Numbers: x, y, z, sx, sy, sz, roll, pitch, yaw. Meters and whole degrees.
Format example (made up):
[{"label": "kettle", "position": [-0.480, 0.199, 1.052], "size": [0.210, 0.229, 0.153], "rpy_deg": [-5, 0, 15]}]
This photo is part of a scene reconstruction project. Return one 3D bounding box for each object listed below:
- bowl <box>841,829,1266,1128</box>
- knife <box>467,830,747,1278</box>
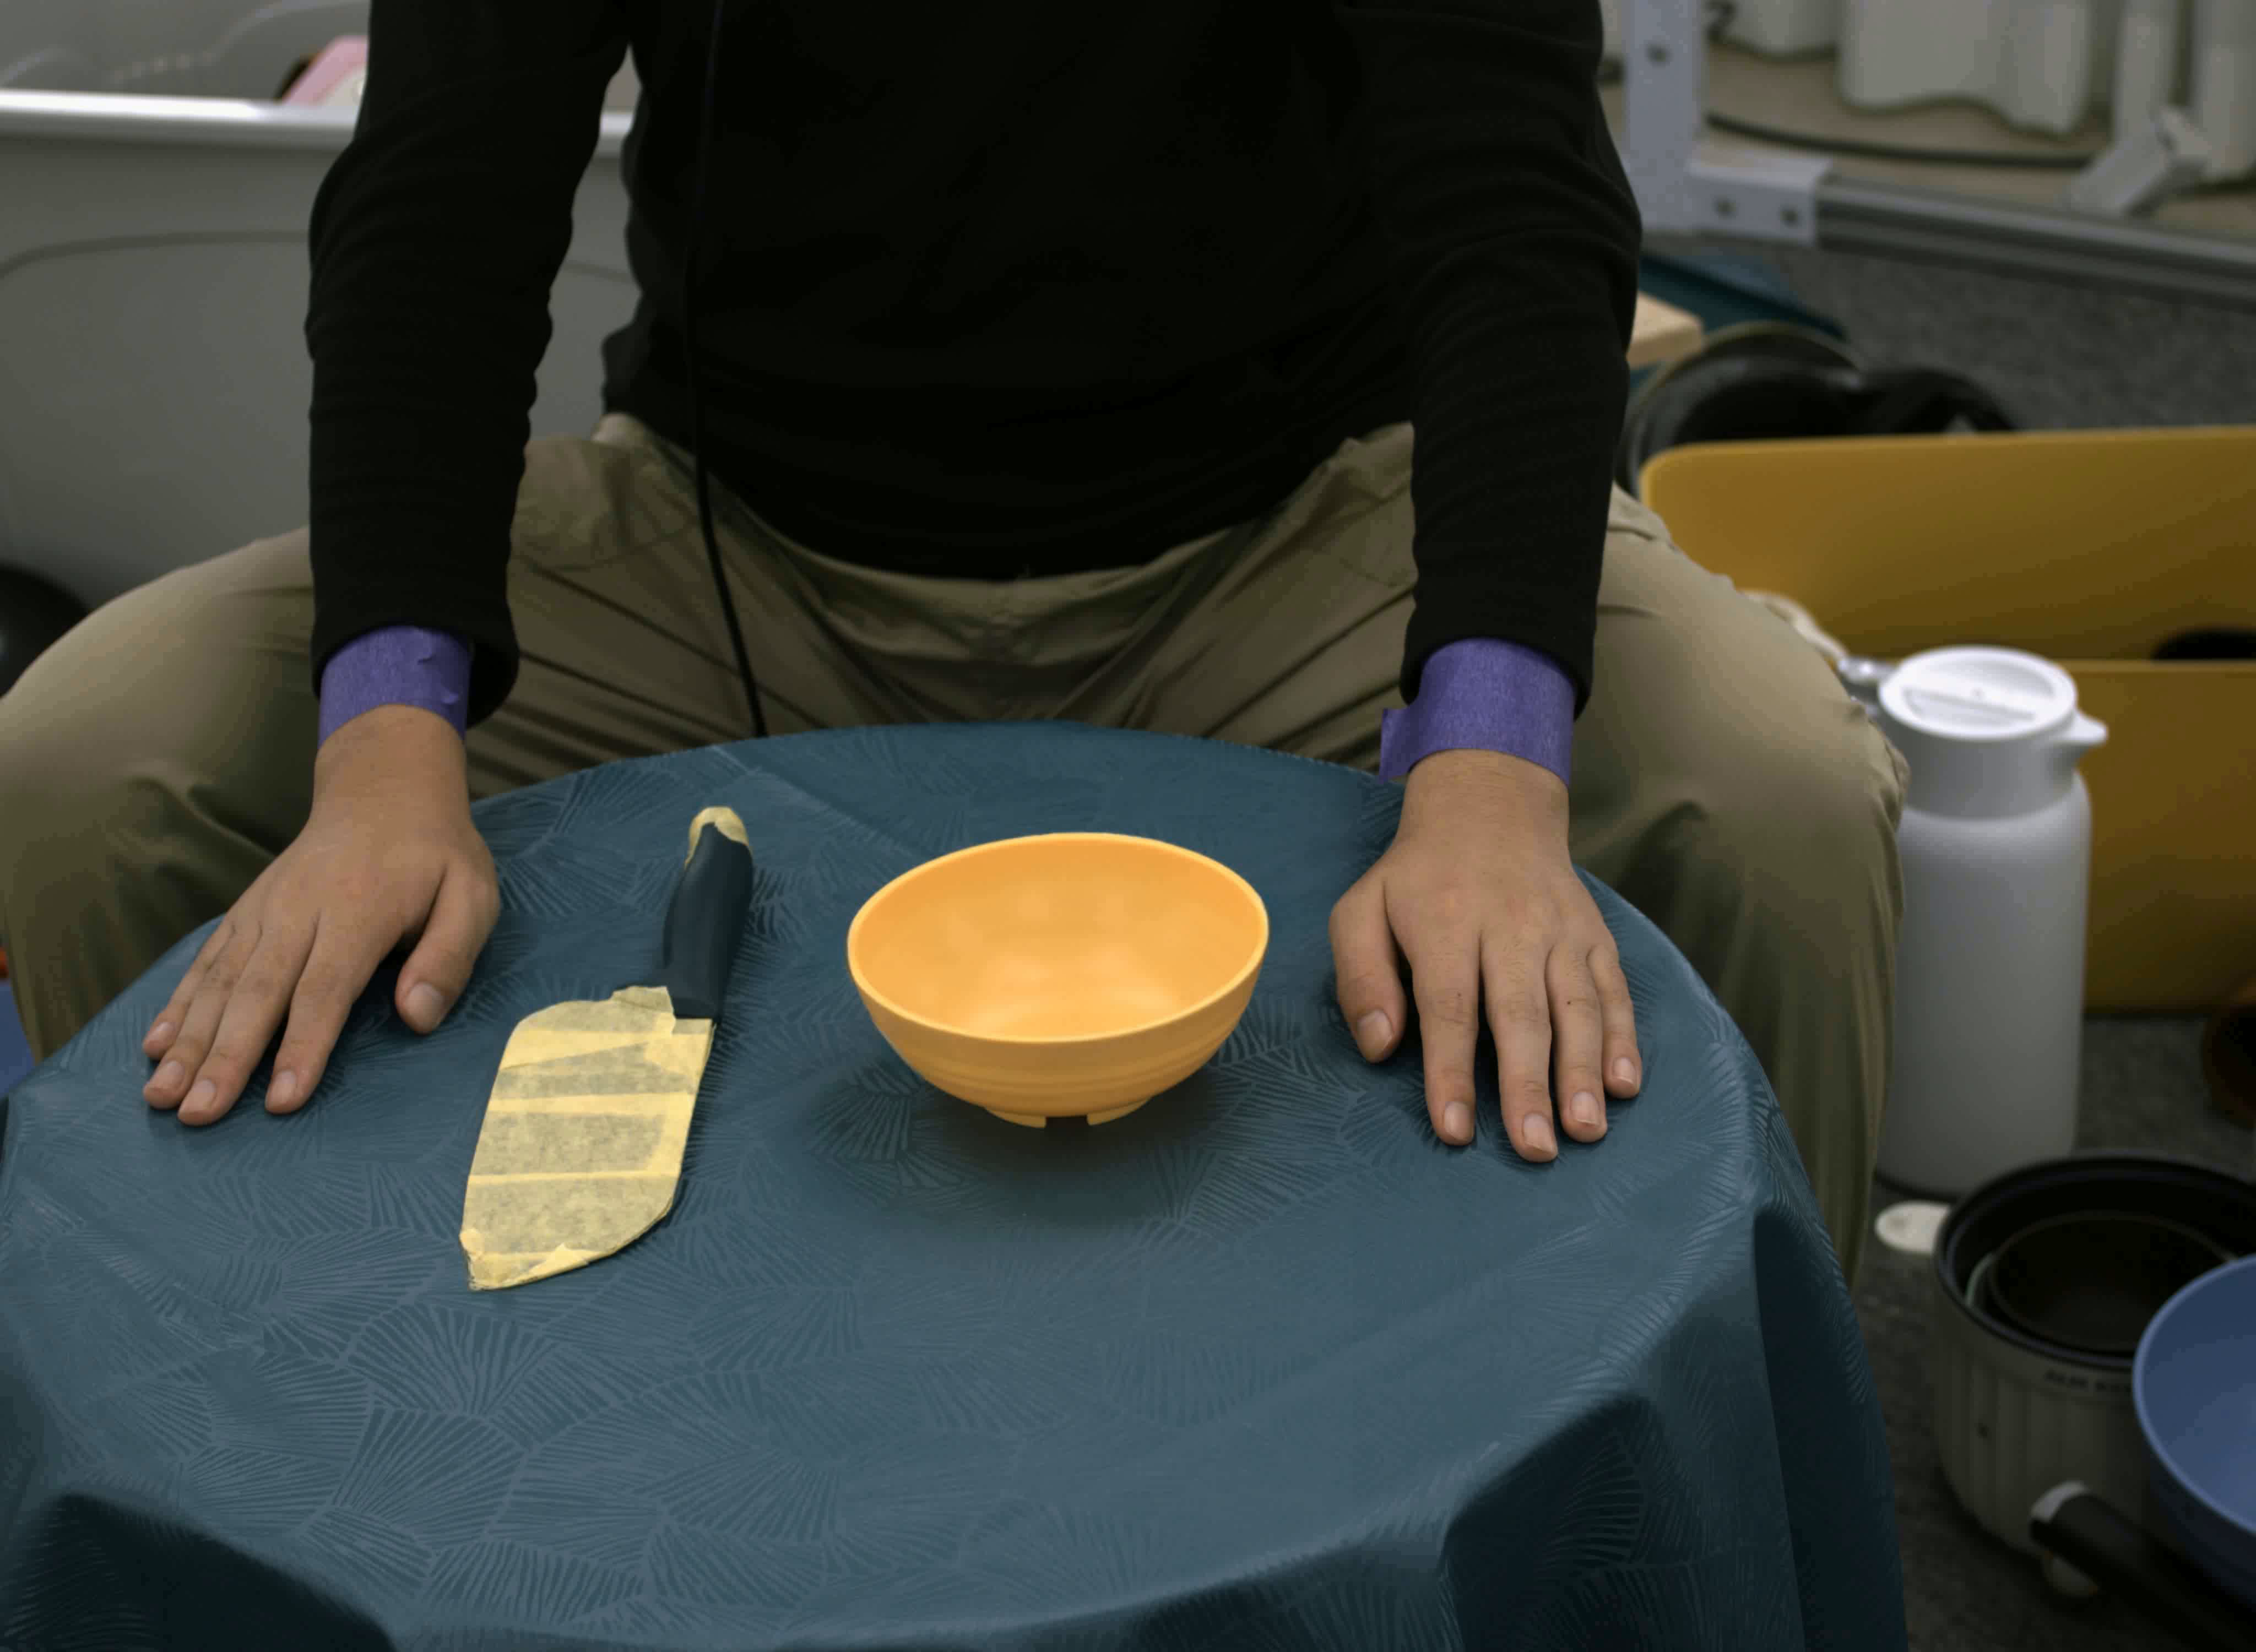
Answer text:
[{"label": "bowl", "position": [-0.025, 0.061, 1.915], "size": [0.144, 0.059, 0.147], "rpy_deg": [0, 28, 0]}, {"label": "knife", "position": [-0.178, 0.078, 1.947], "size": [0.080, 0.027, 0.294], "rpy_deg": [2, 28, 7]}]
